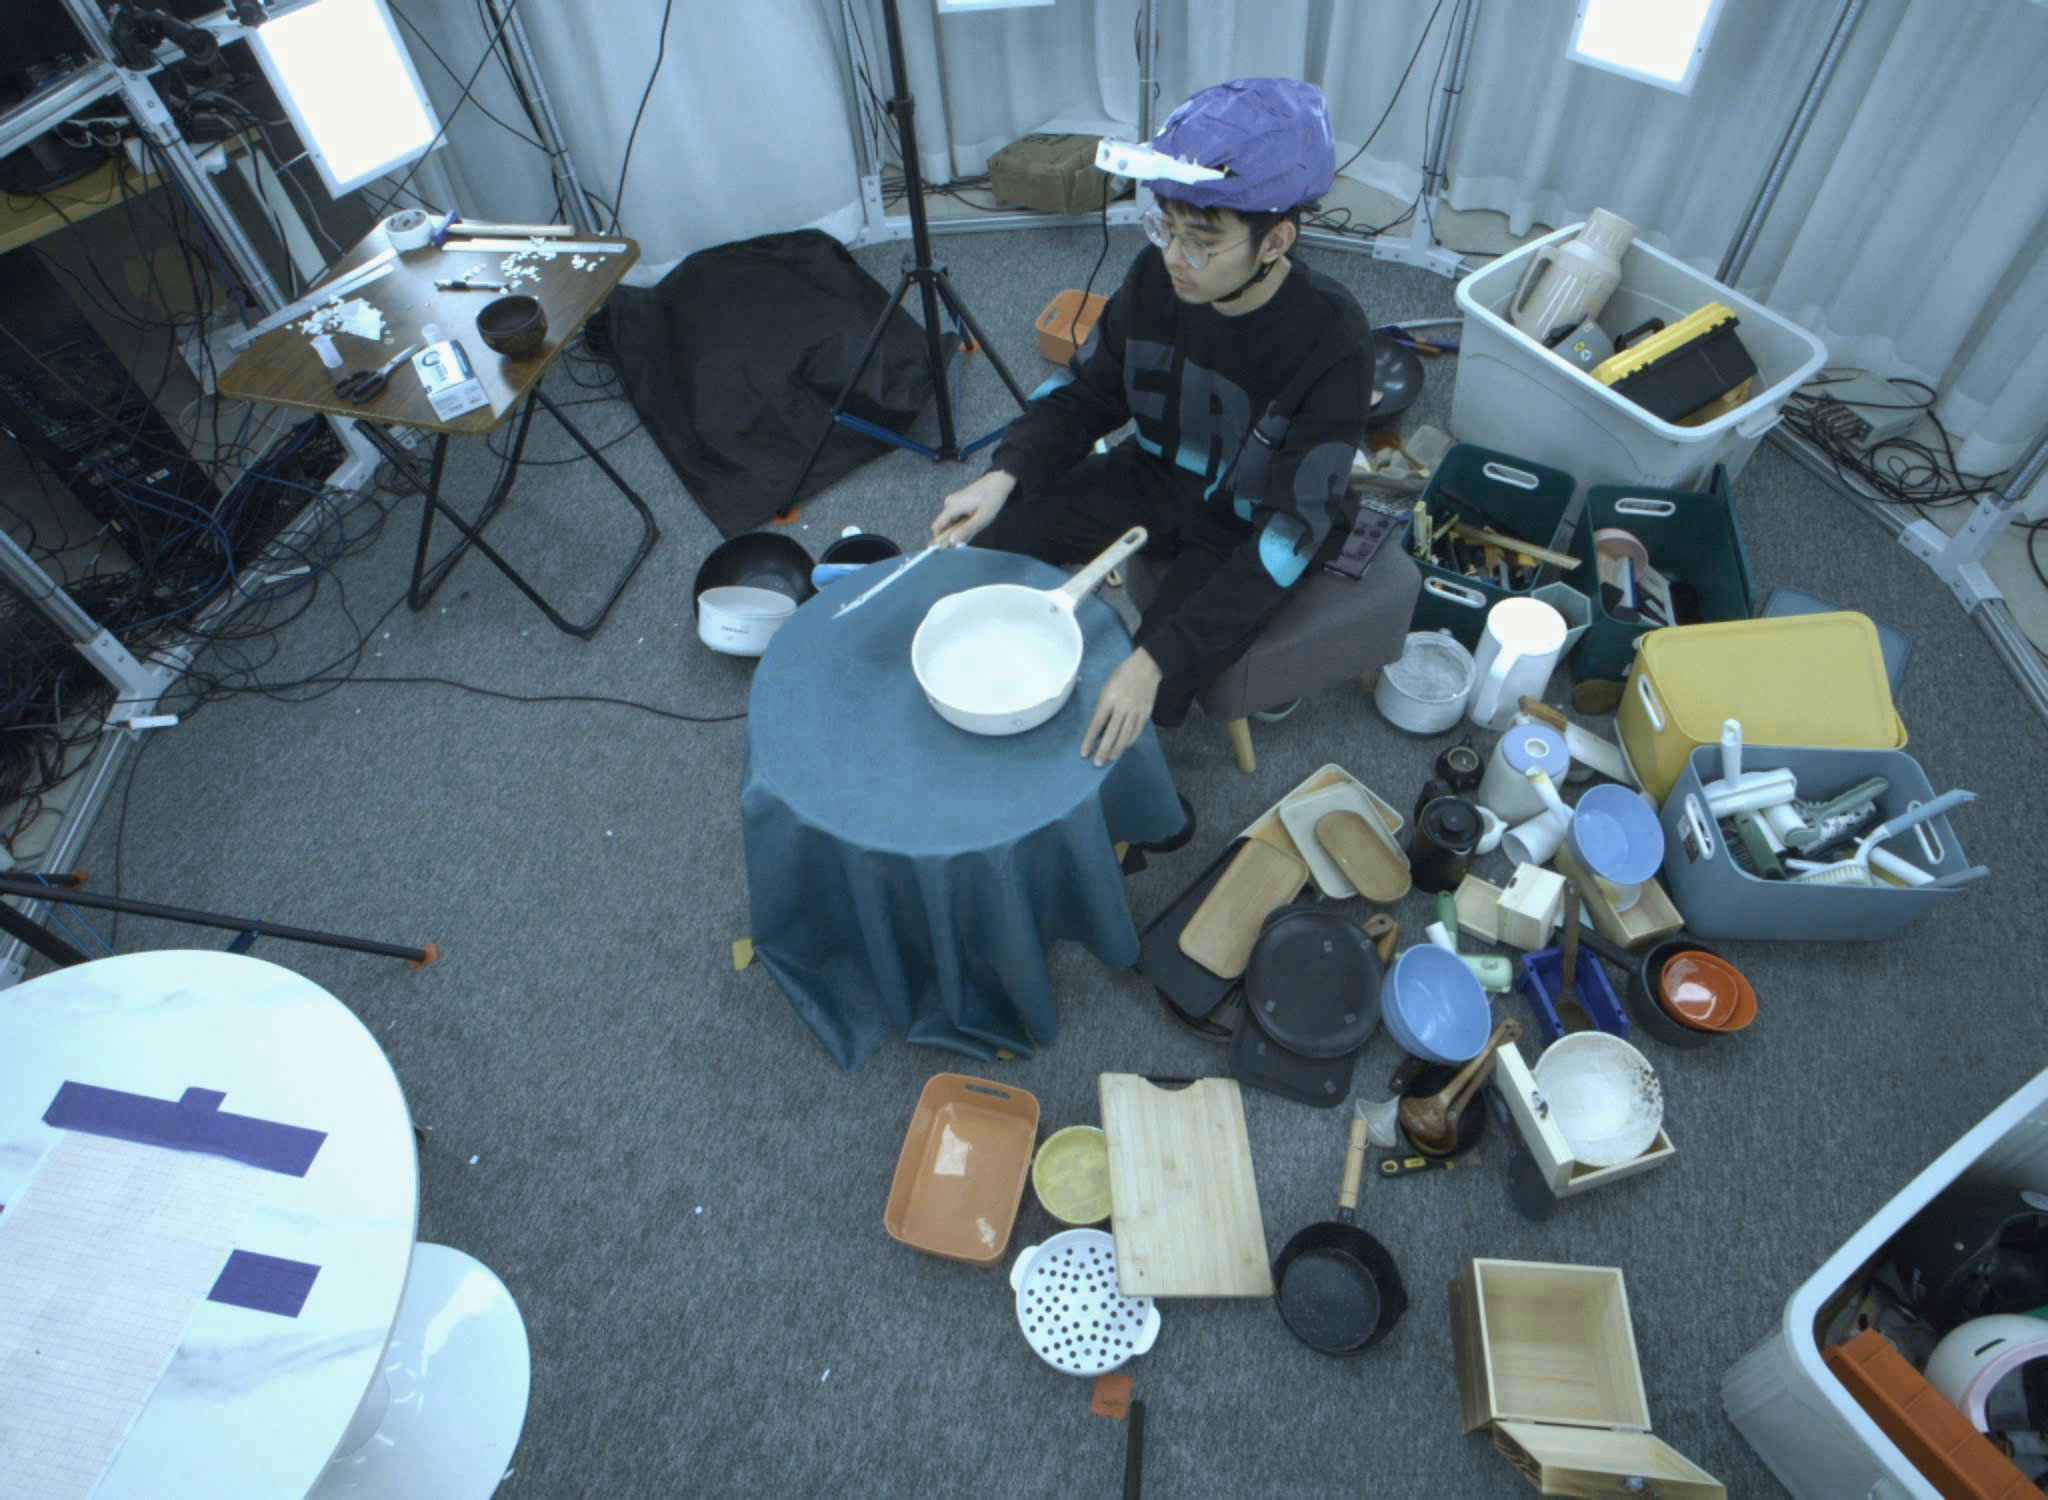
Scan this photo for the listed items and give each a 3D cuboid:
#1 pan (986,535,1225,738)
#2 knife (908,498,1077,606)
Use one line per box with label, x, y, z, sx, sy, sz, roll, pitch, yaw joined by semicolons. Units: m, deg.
pan;0.143;-0.178;1.846;0.438;0.103;0.258;-35;58;-20
knife;-0.041;-0.304;1.869;0.318;0.112;0.022;-36;103;-23
